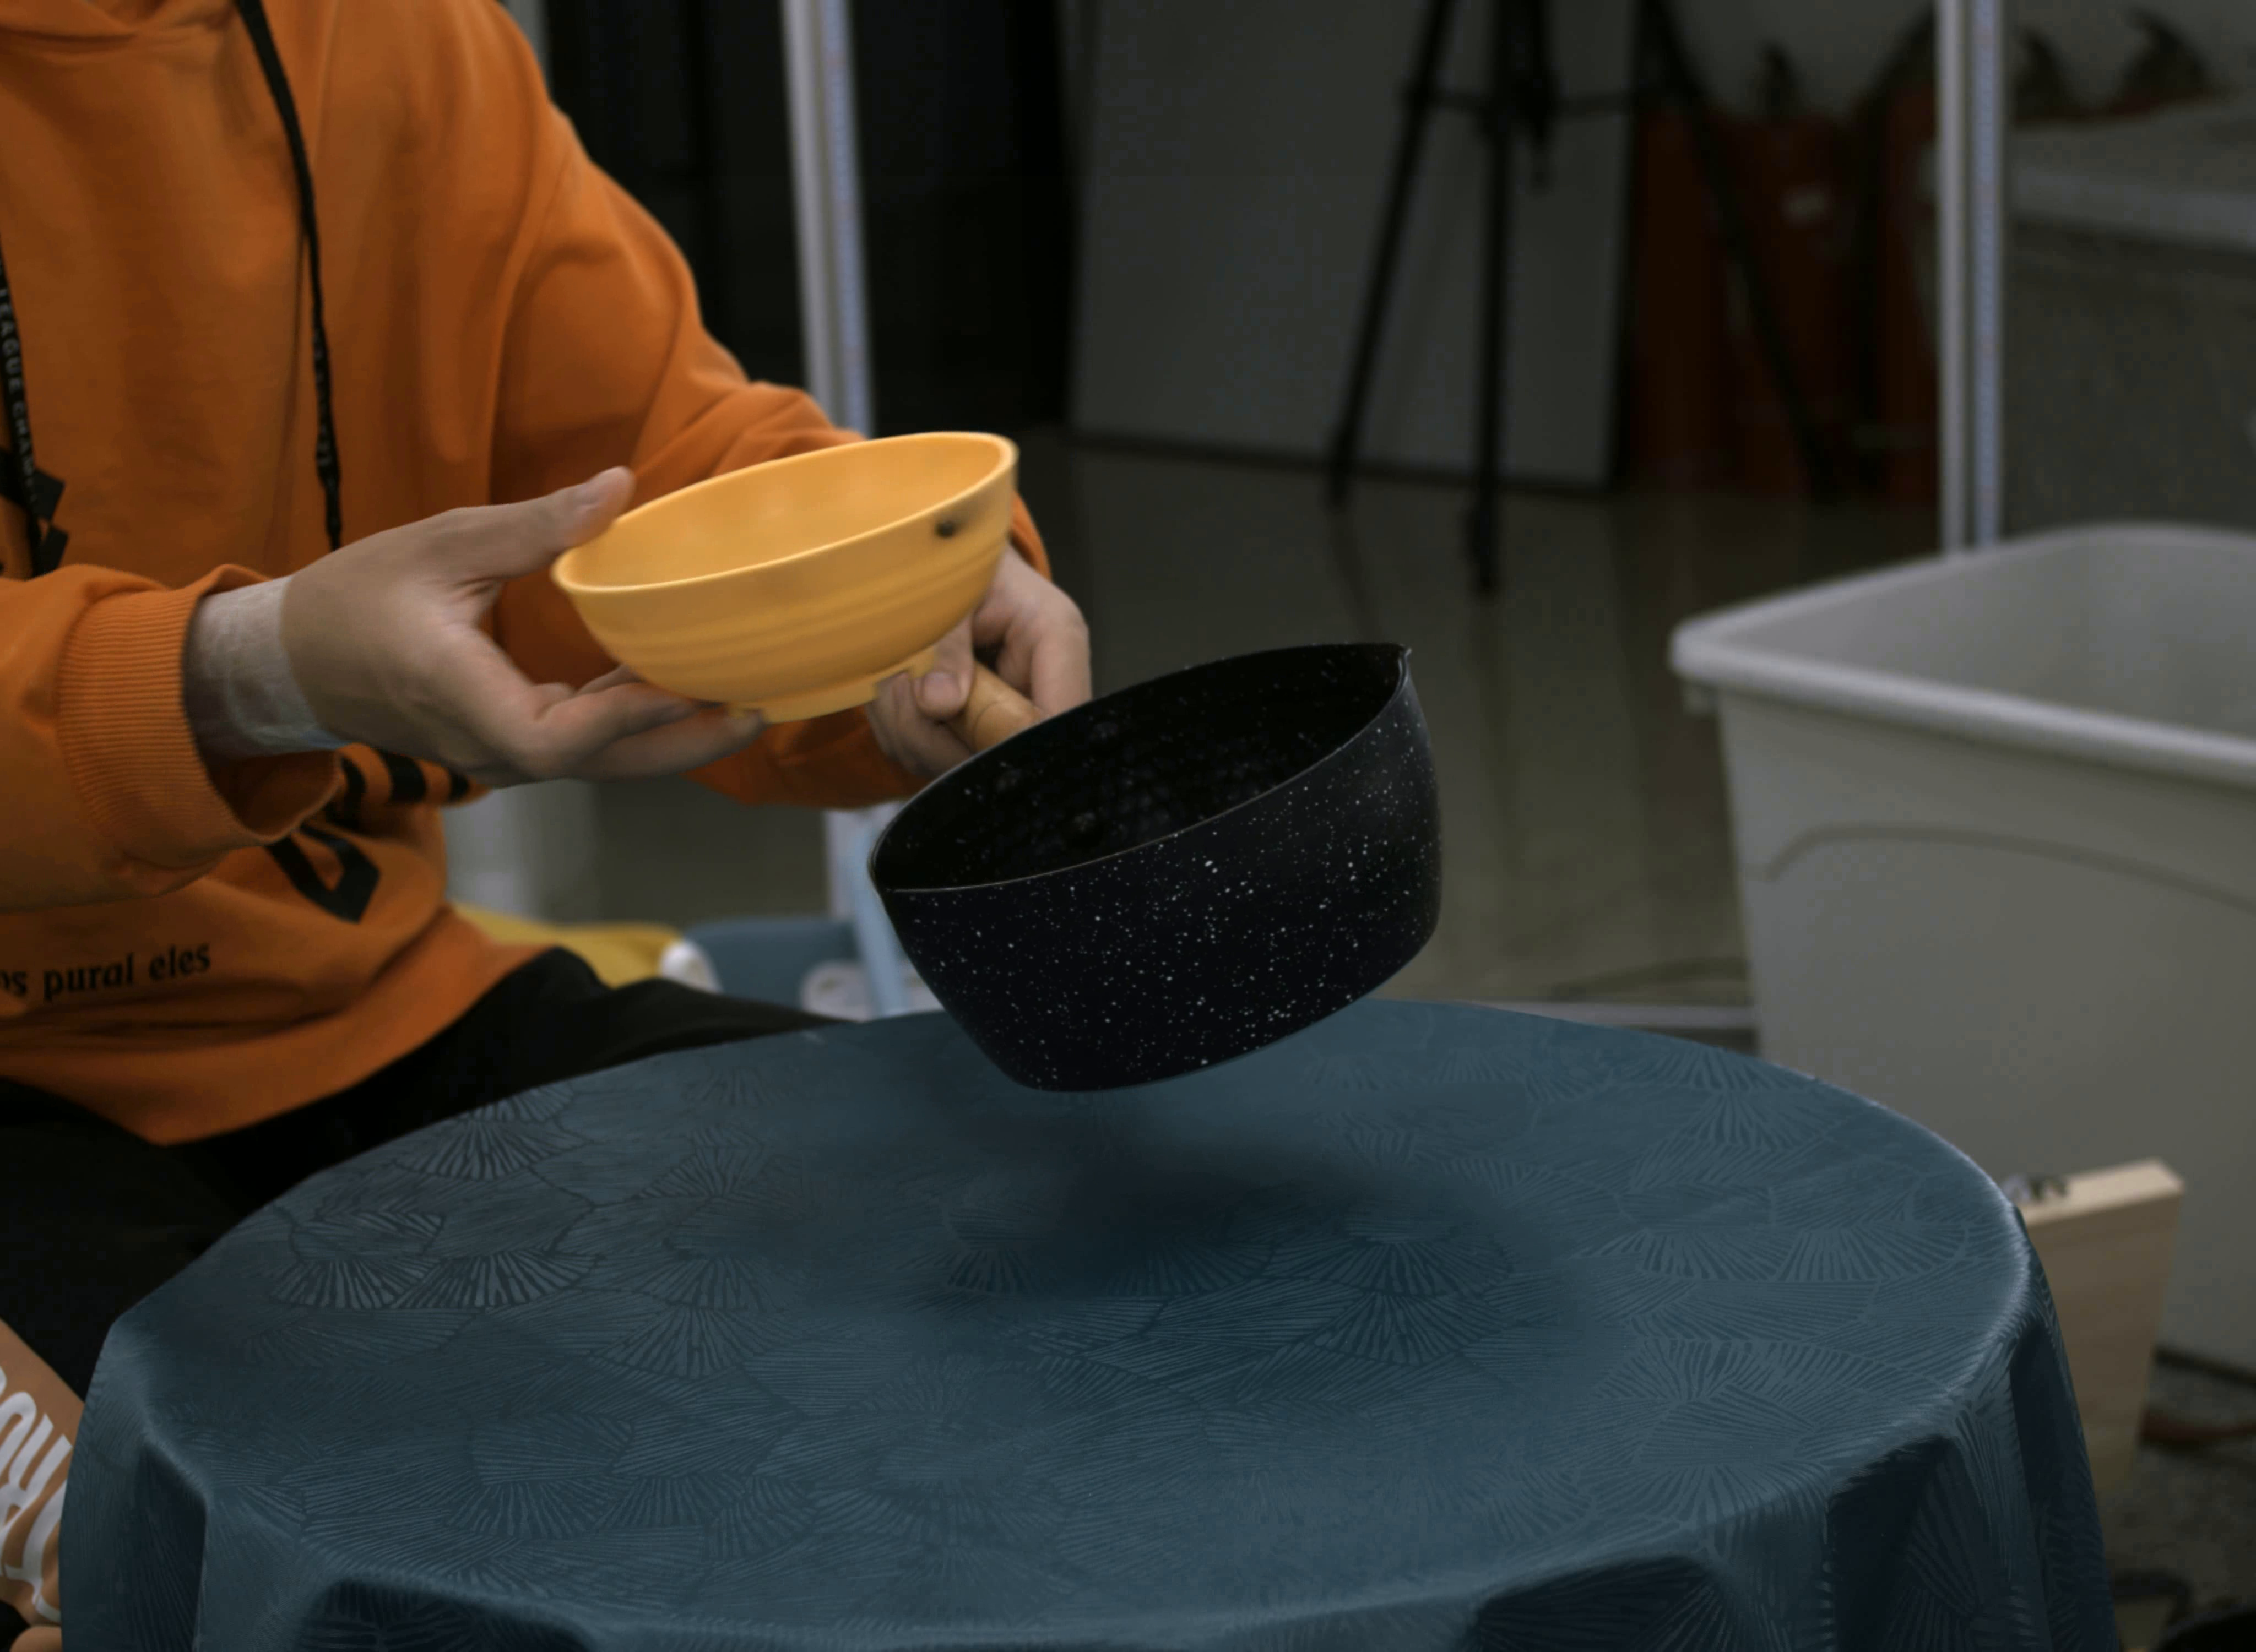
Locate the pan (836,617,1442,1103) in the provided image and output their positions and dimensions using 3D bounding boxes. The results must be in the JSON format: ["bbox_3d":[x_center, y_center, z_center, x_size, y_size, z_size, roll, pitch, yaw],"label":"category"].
[{"bbox_3d":[-0.017,-0.006,1.806,0.204,0.109,0.346,-27,18,-15],"label":"pan"}]

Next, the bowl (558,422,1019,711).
[{"bbox_3d":[-0.095,-0.073,1.633,0.144,0.060,0.145,-15,14,3],"label":"bowl"}]
